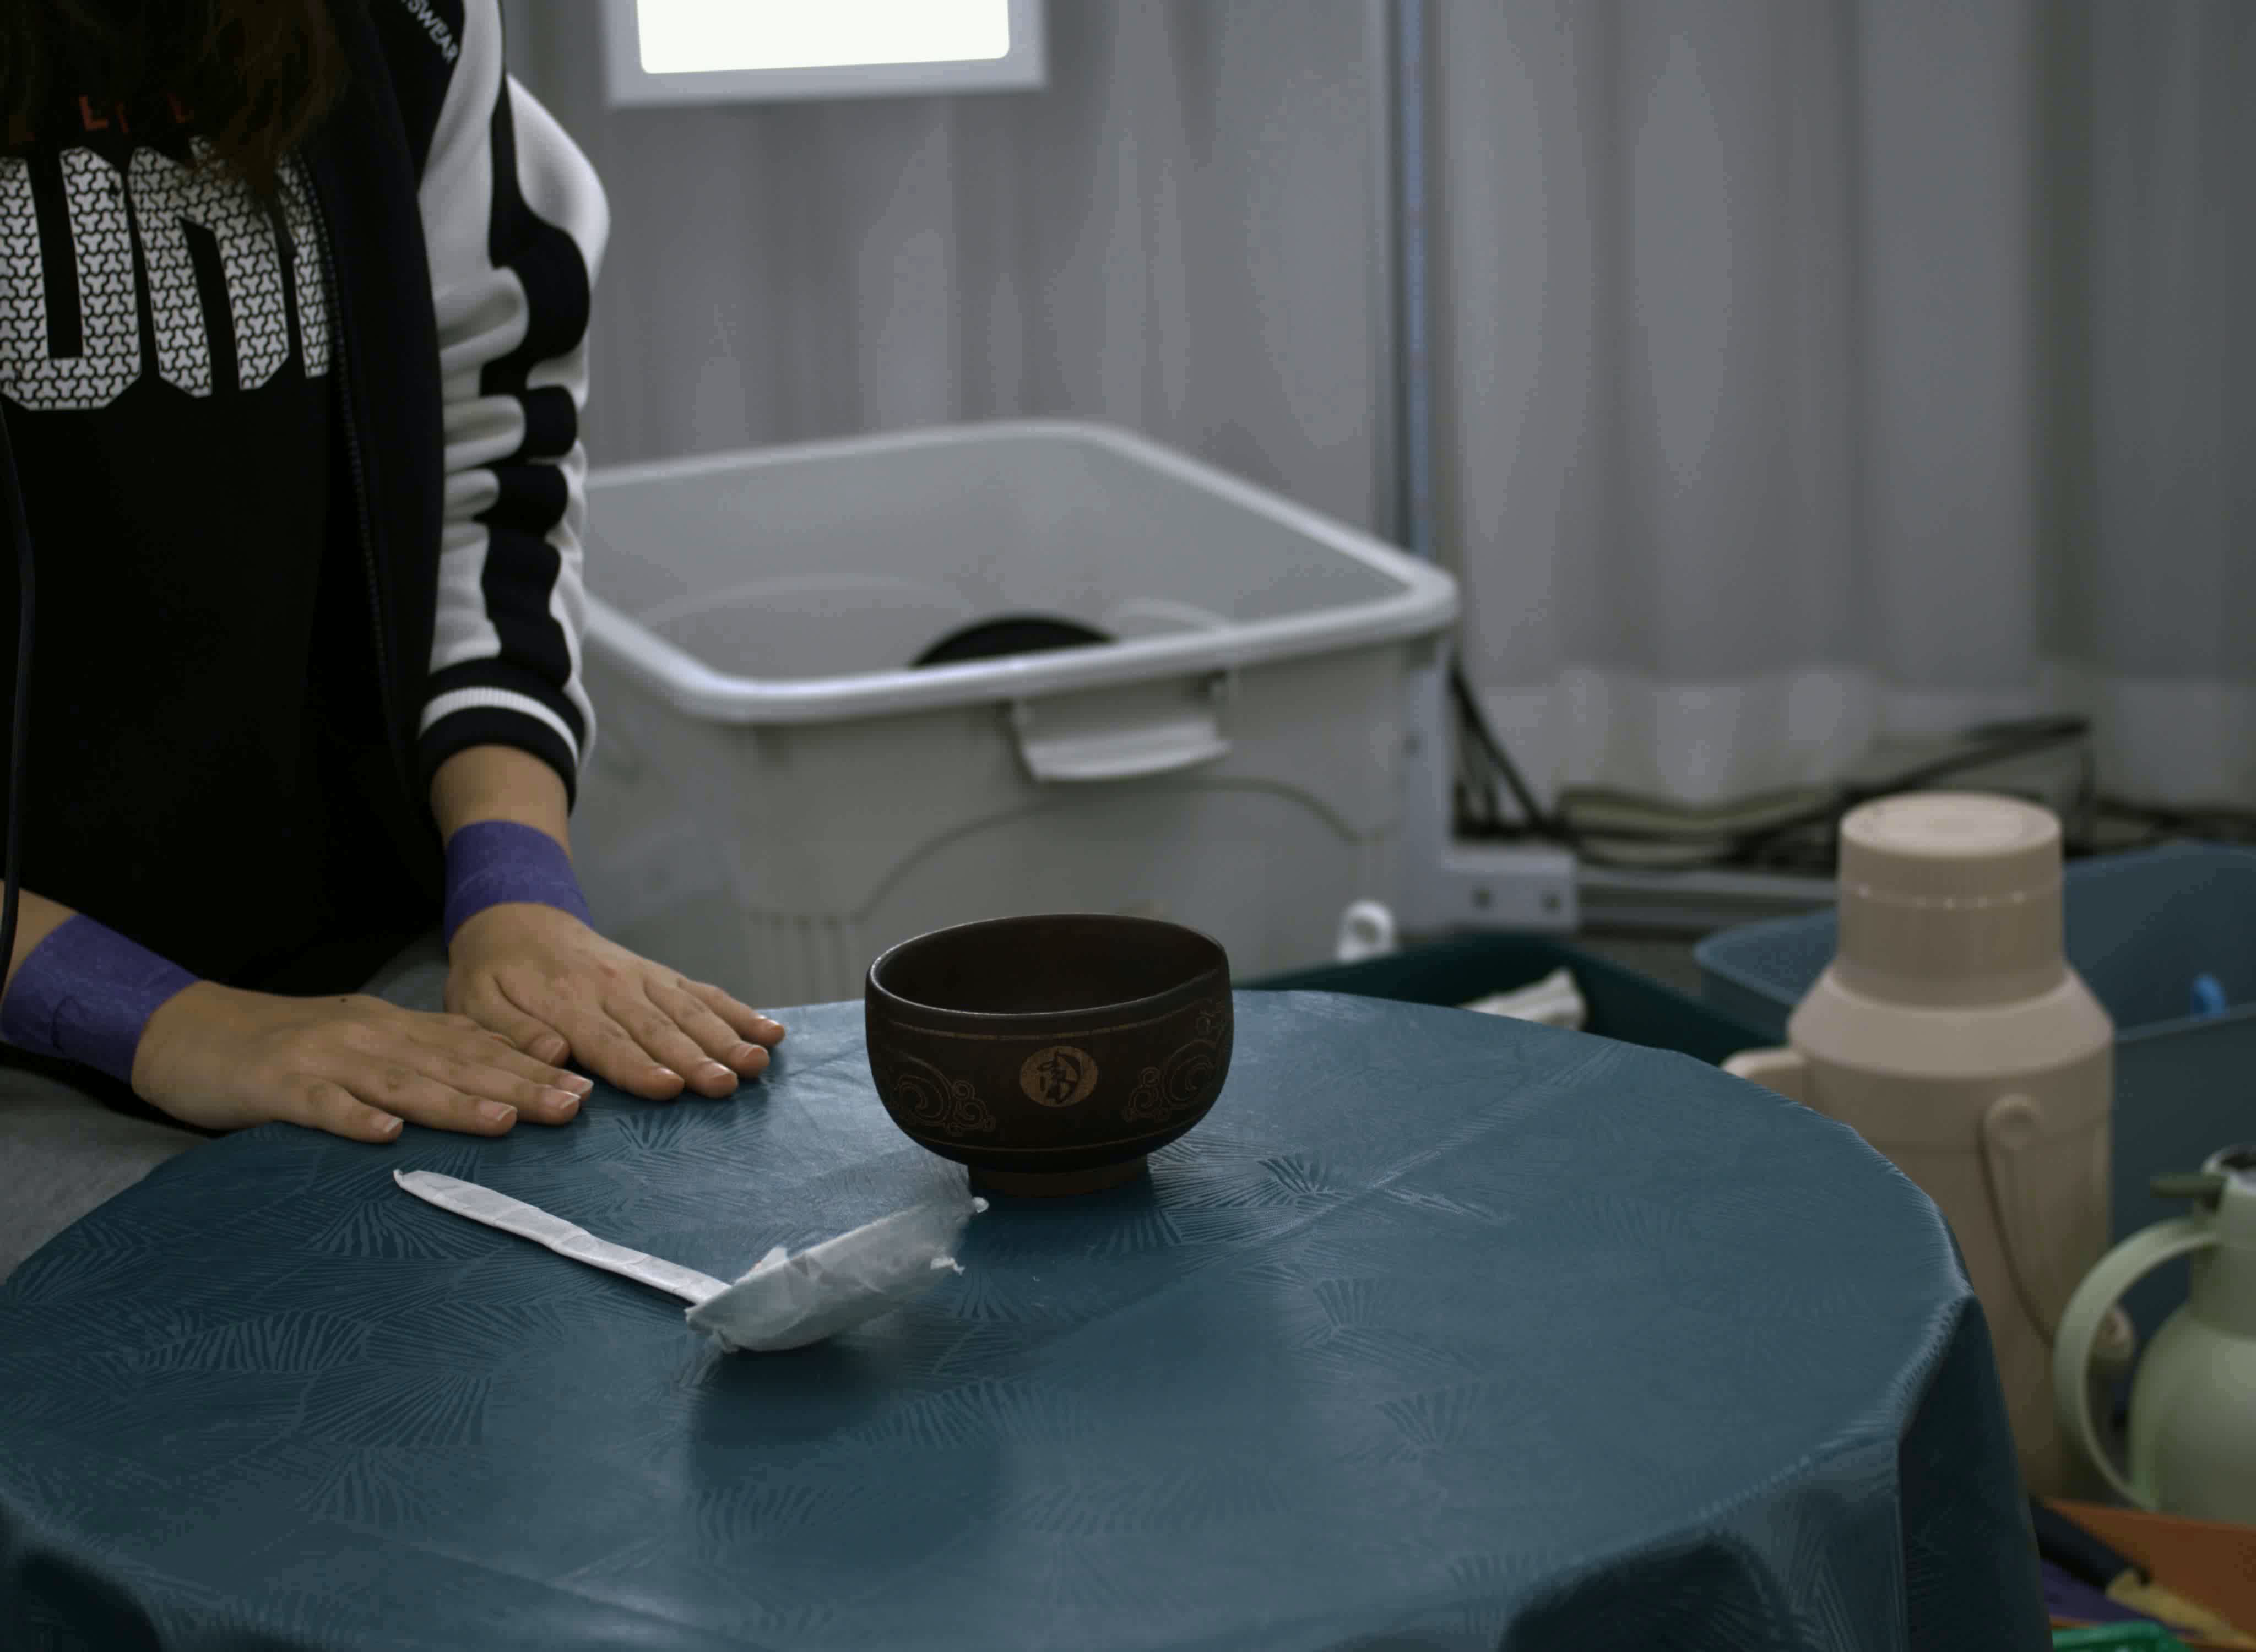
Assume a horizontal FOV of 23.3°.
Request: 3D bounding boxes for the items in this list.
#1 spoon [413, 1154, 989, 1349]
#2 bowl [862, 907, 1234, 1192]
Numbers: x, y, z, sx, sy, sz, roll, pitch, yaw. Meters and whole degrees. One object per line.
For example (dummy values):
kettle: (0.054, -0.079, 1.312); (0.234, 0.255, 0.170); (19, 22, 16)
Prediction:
spoon: (-0.140, 0.108, 1.655); (0.100, 0.059, 0.279); (-9, 16, -35)
bowl: (-0.025, 0.074, 1.730); (0.117, 0.069, 0.119); (-2, 14, 0)
